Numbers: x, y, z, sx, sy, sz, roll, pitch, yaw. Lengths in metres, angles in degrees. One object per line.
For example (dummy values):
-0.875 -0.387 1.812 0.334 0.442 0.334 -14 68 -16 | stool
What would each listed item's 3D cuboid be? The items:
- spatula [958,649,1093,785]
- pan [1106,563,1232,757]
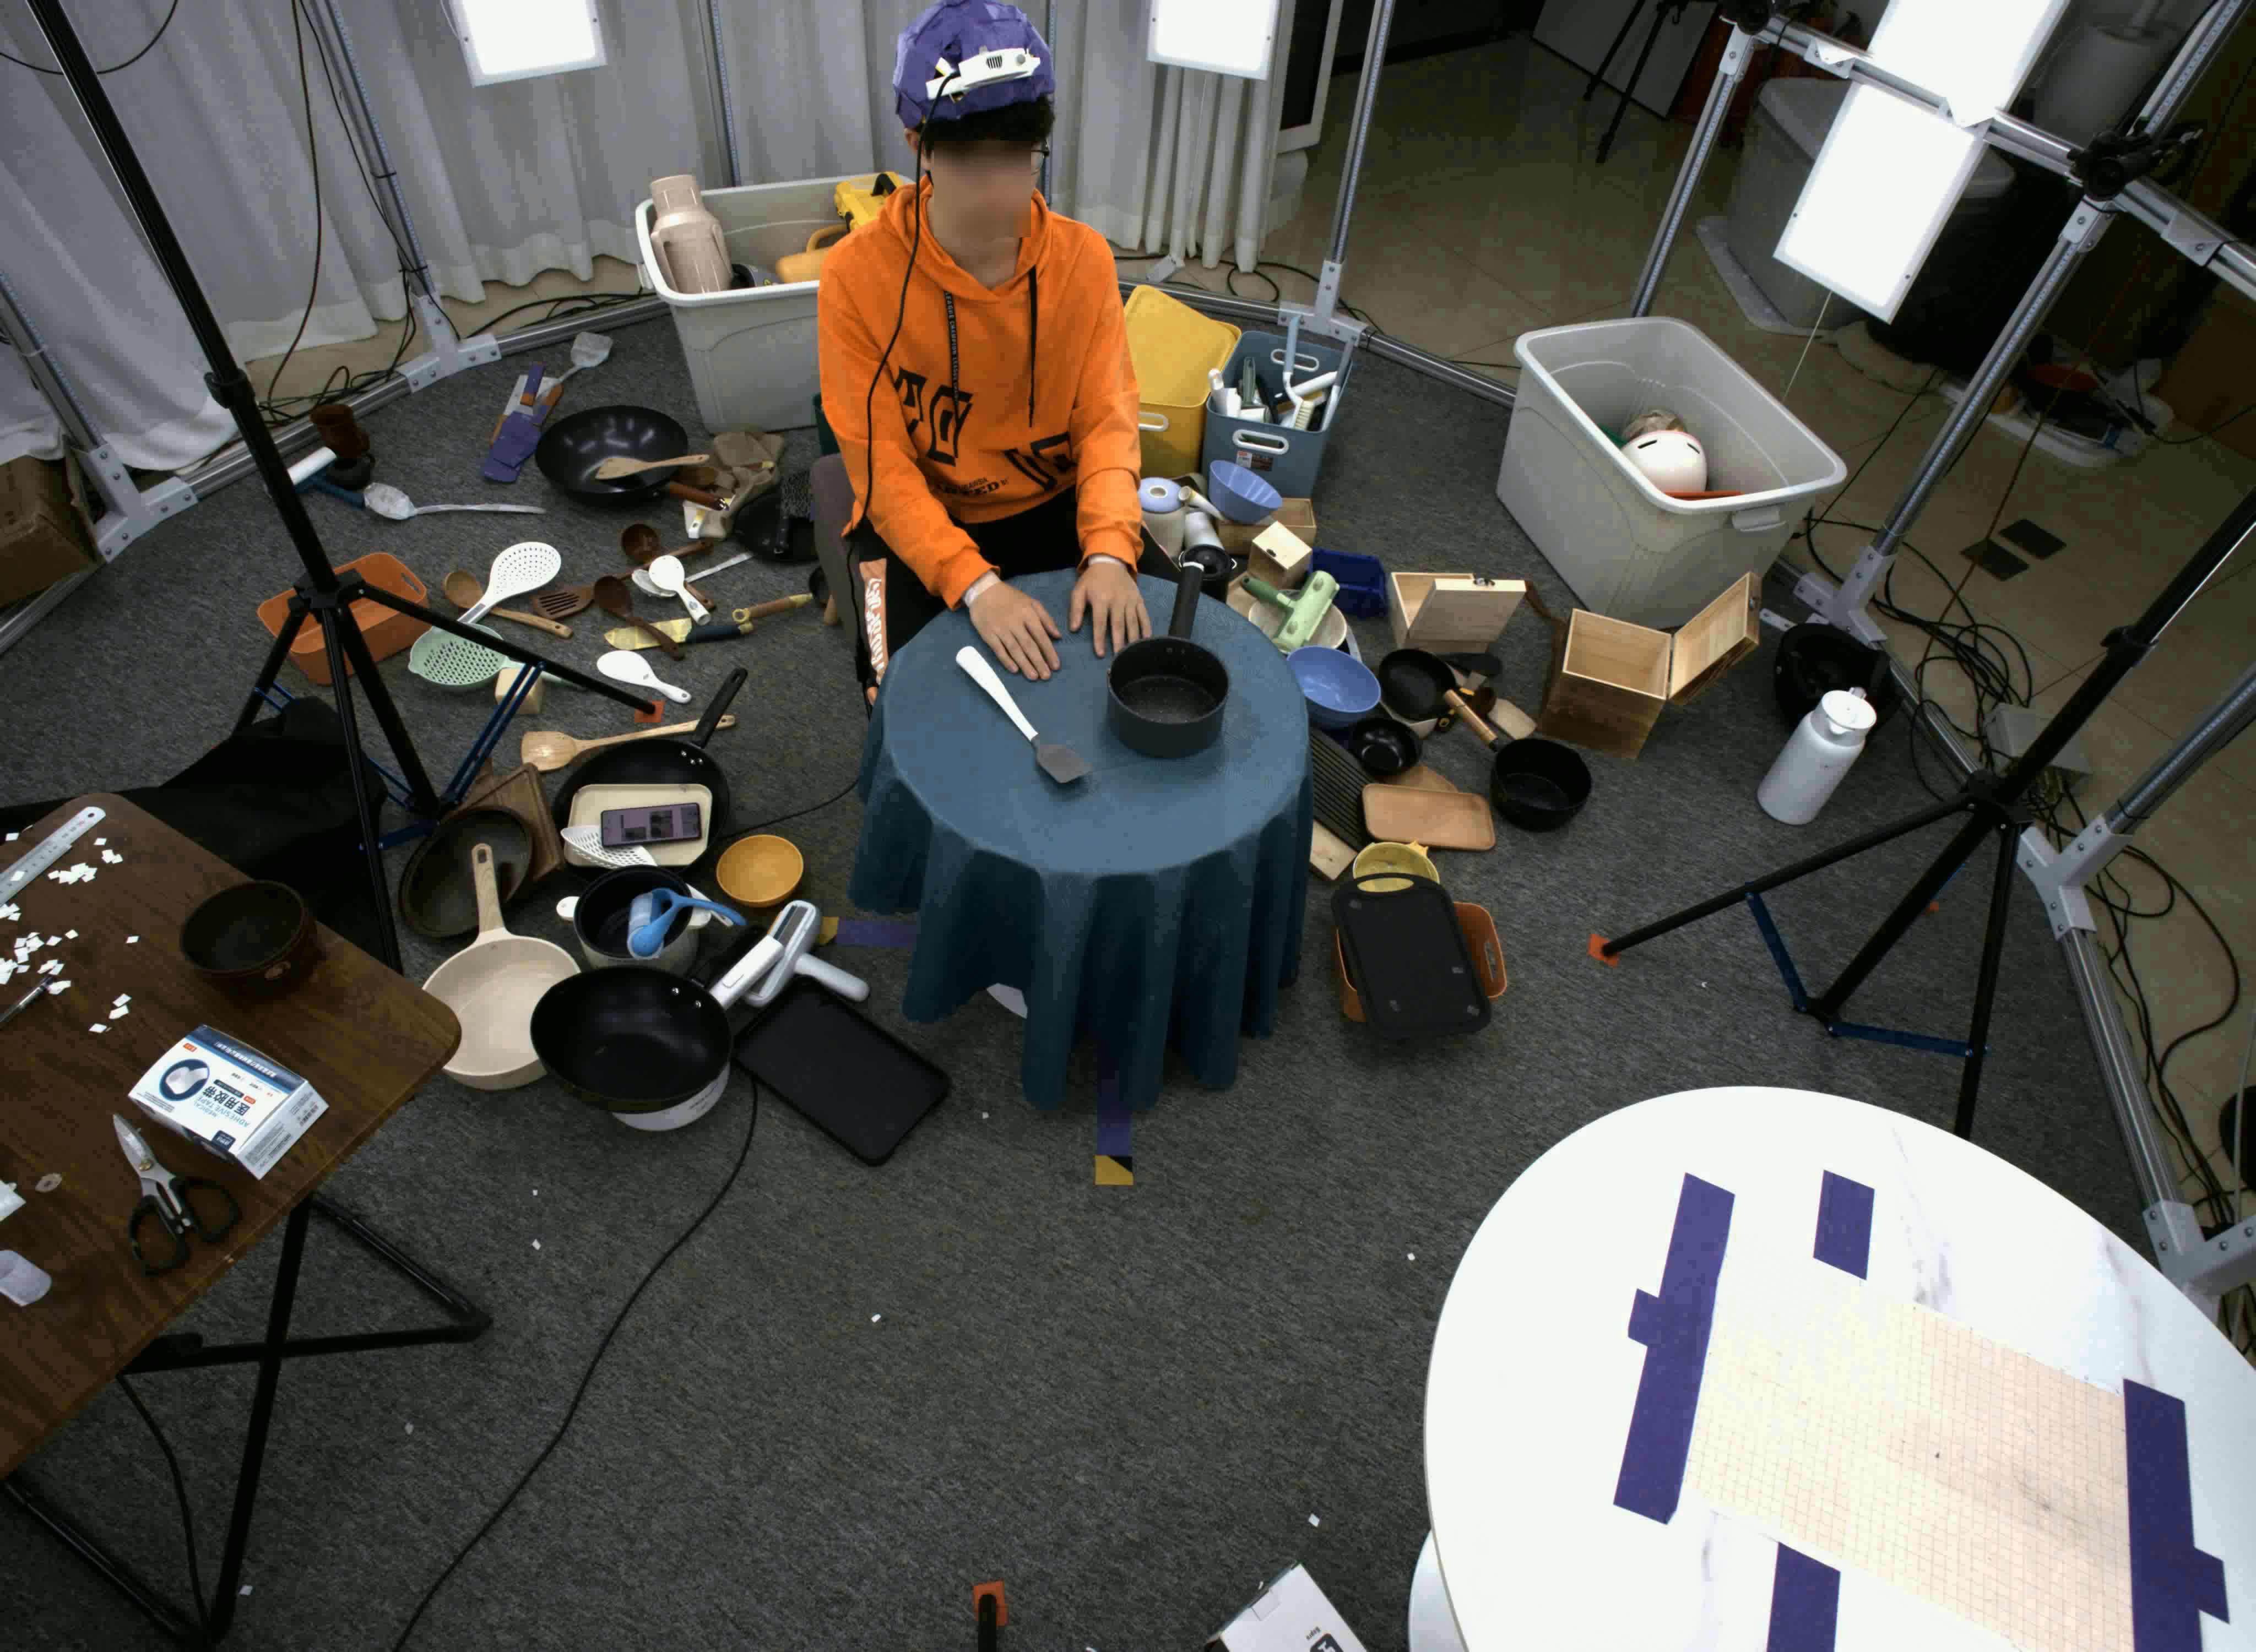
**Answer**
-0.147 -0.149 1.768 0.059 0.031 0.293 -23 53 -28 | spatula
0.070 -0.240 1.827 0.172 0.084 0.336 12 51 5 | pan
